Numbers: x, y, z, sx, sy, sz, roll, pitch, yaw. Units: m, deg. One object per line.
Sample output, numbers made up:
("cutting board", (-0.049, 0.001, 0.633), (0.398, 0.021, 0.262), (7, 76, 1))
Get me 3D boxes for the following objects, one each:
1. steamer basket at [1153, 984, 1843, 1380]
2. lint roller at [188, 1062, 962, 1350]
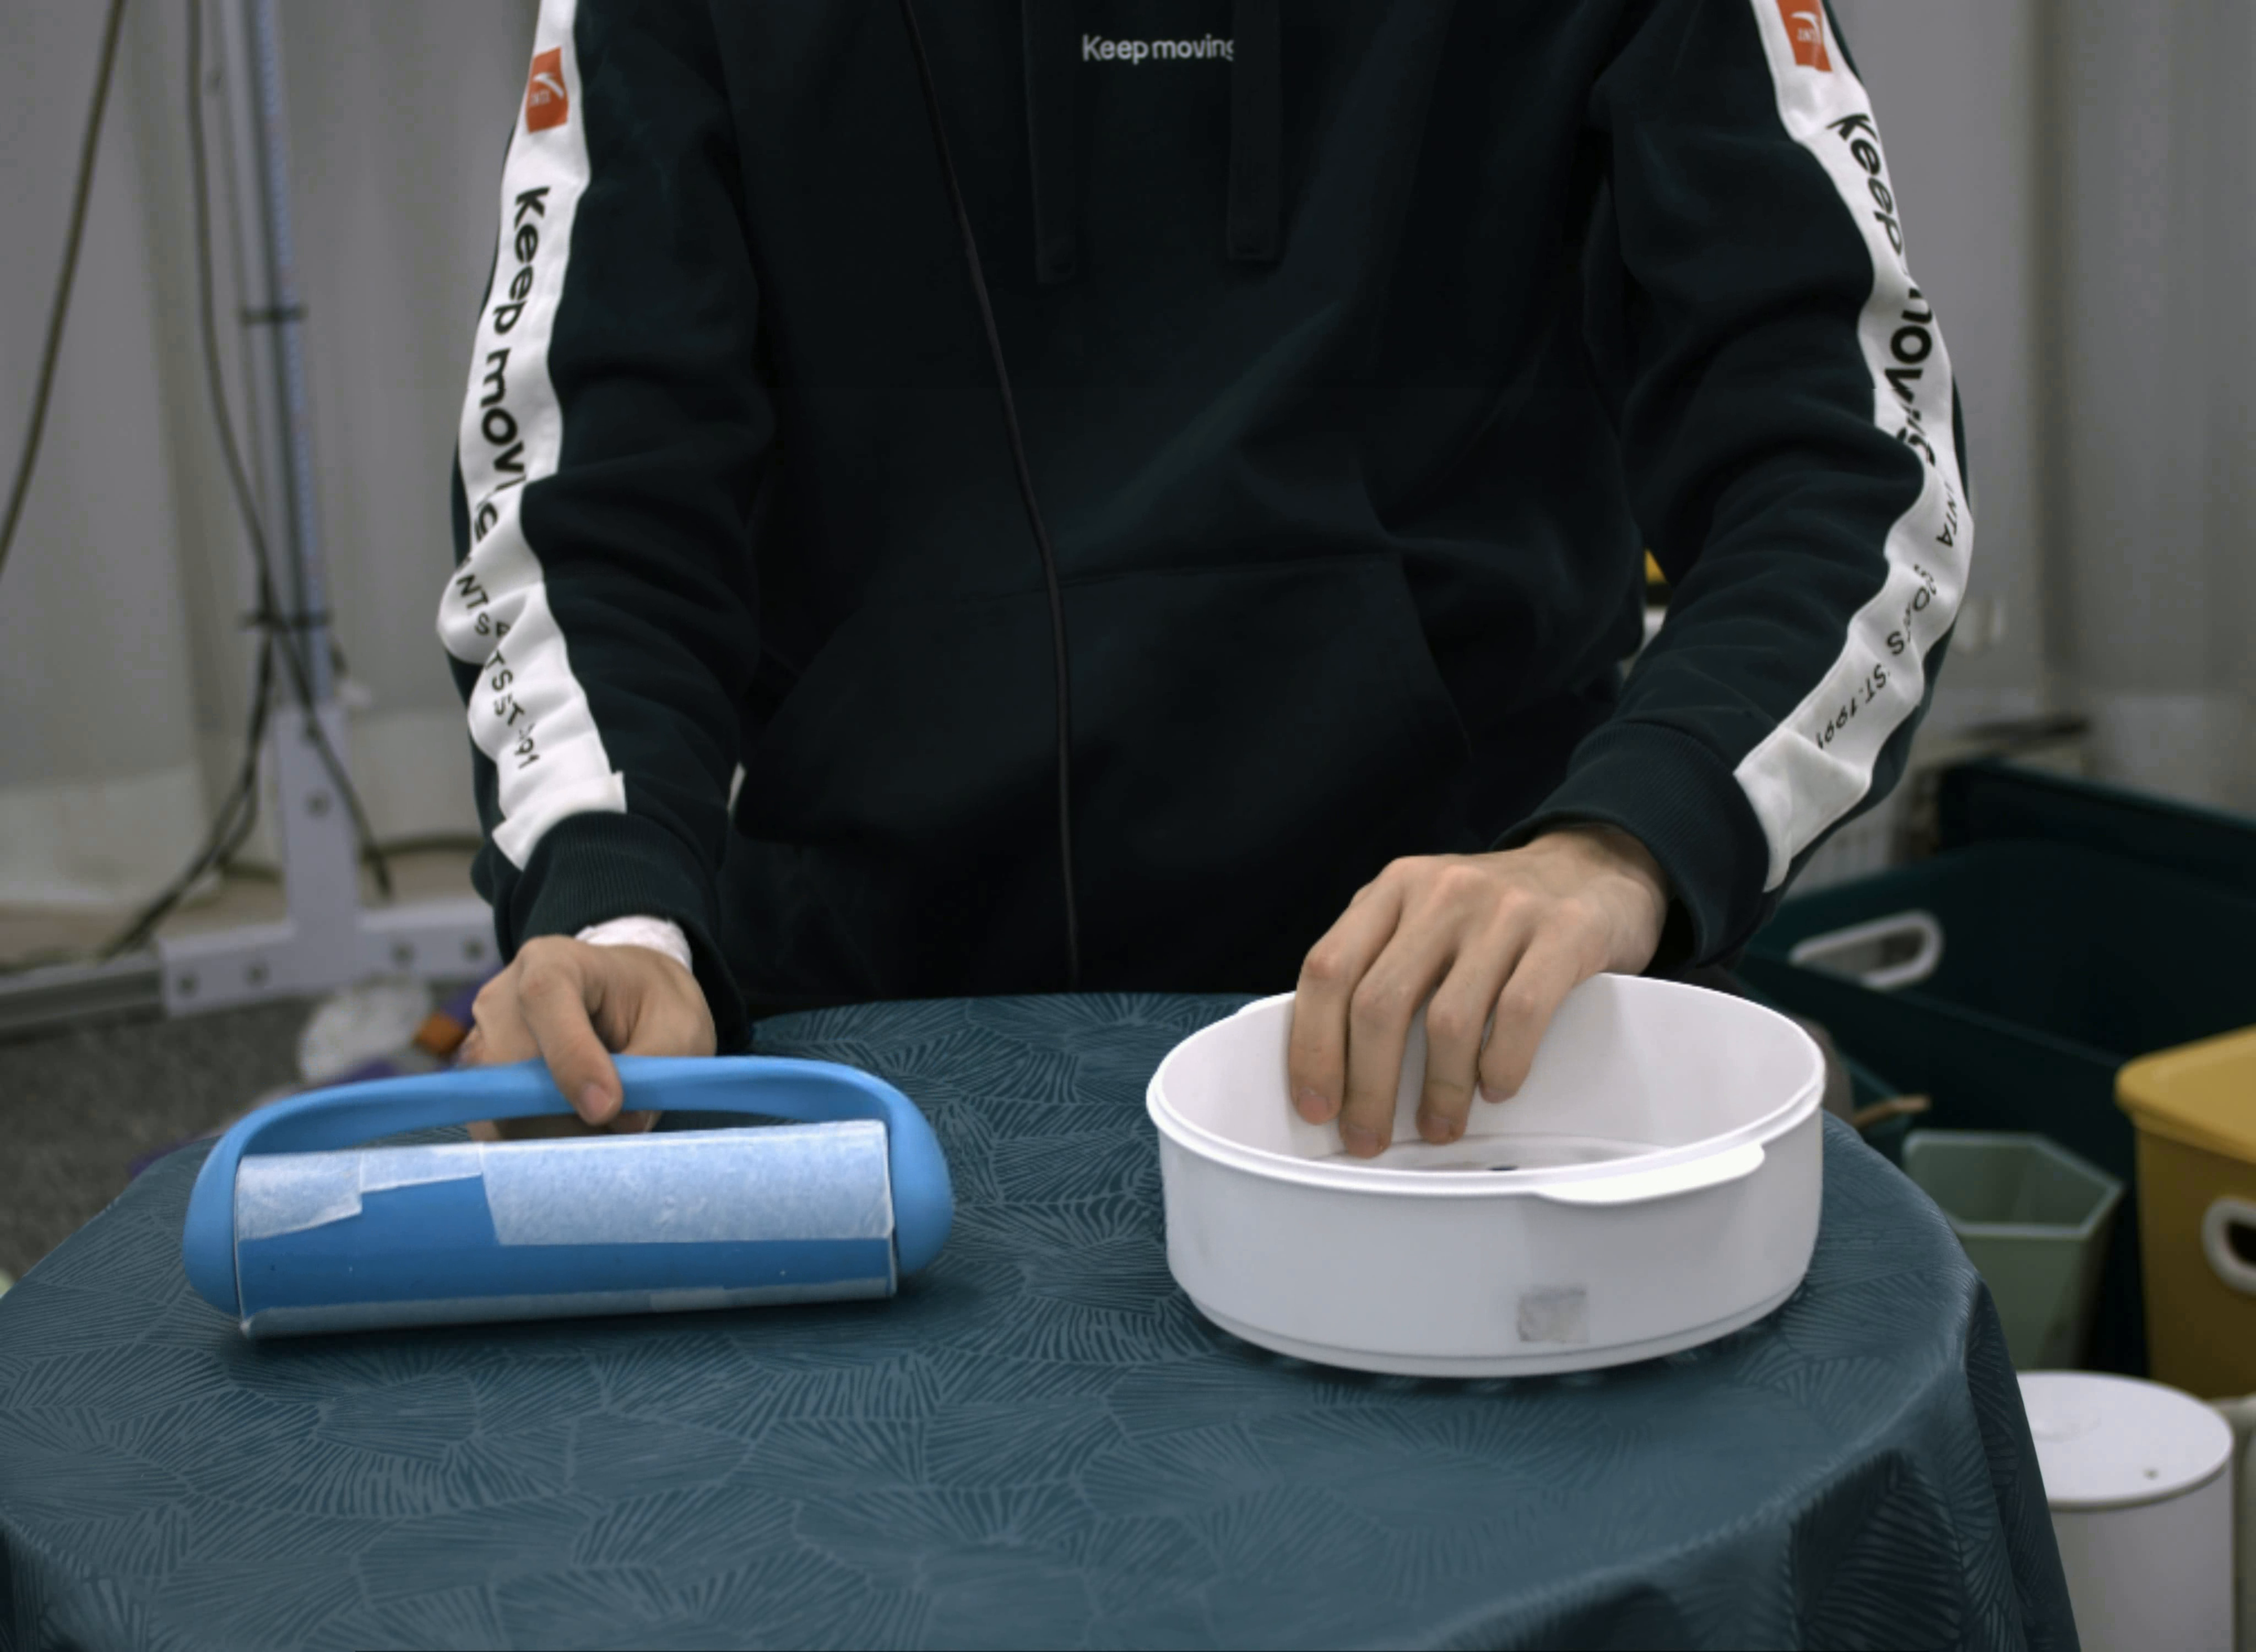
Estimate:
("steamer basket", (0.109, 0.104, 1.602), (0.201, 0.069, 0.232), (-9, 15, -23))
("lint roller", (-0.171, 0.103, 1.675), (0.228, 0.067, 0.182), (-6, 17, -6))
